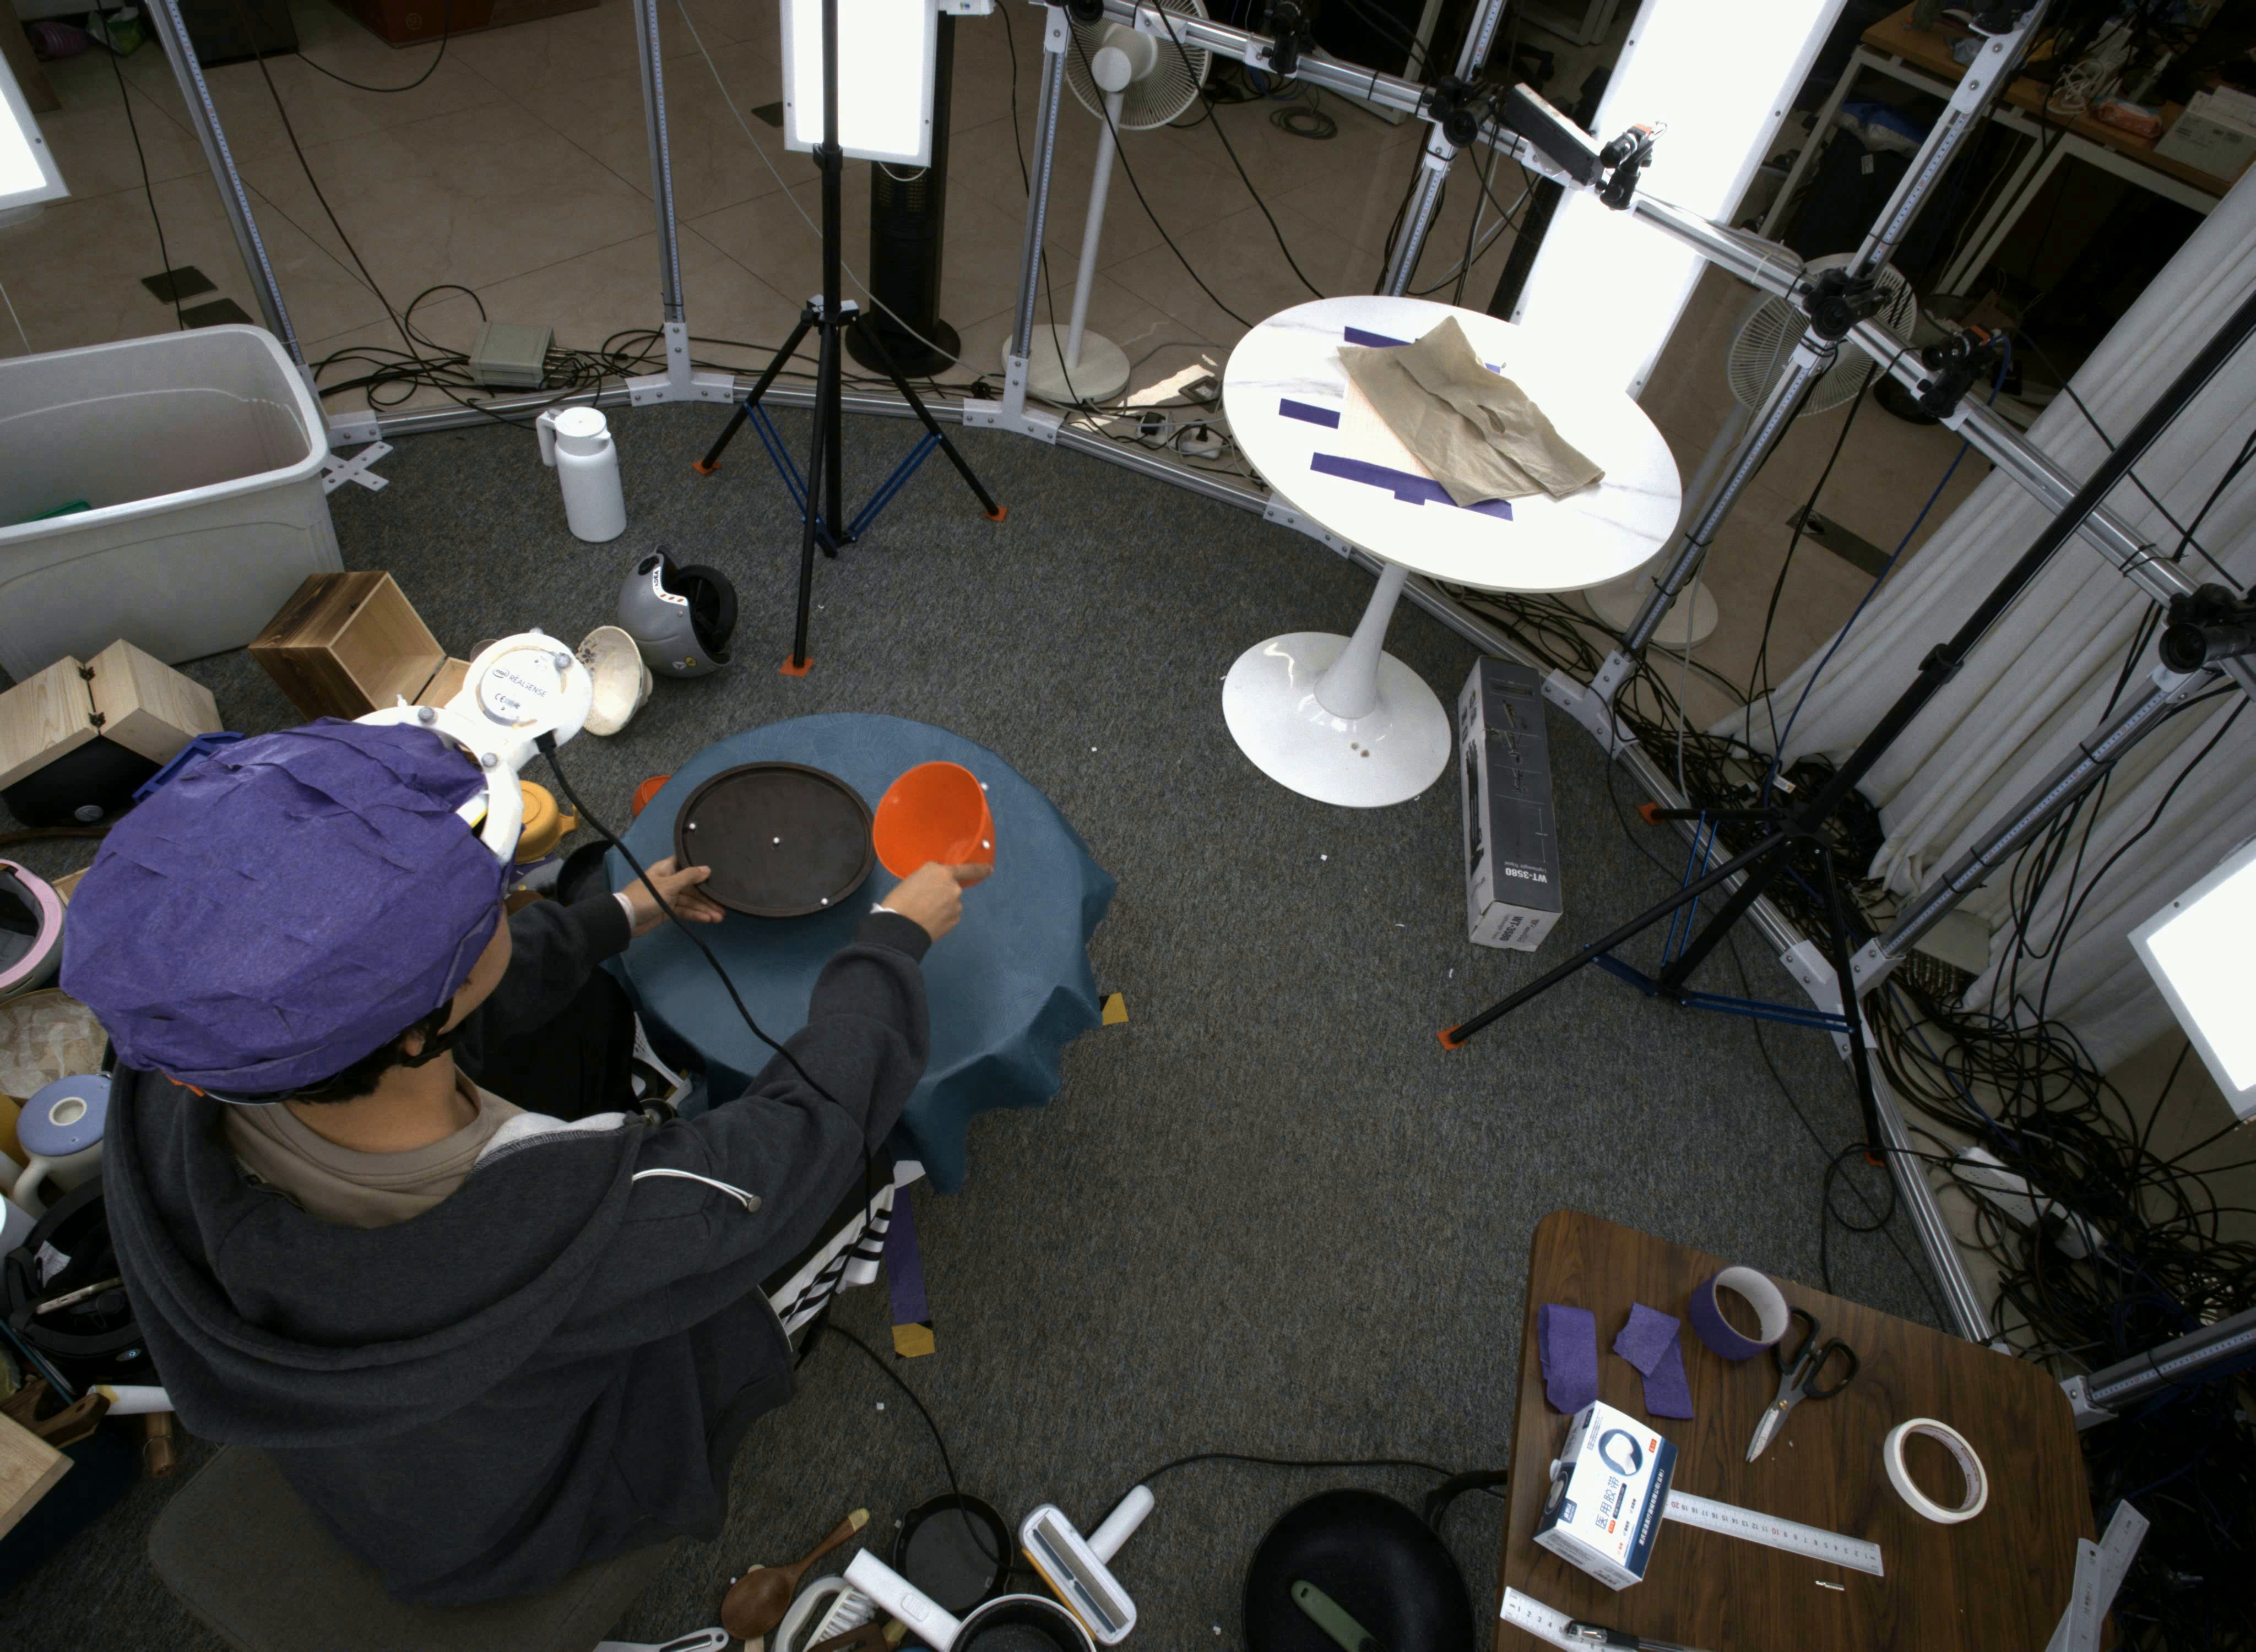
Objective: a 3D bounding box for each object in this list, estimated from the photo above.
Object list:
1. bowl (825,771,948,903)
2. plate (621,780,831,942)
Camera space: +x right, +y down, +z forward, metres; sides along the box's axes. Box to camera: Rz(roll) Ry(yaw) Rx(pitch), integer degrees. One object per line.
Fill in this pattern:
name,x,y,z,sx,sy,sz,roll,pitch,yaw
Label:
bowl,-0.267,0.025,1.519,0.145,0.108,0.146,-10,59,19
plate,-0.496,0.040,1.598,0.255,0.029,0.250,12,49,-12
